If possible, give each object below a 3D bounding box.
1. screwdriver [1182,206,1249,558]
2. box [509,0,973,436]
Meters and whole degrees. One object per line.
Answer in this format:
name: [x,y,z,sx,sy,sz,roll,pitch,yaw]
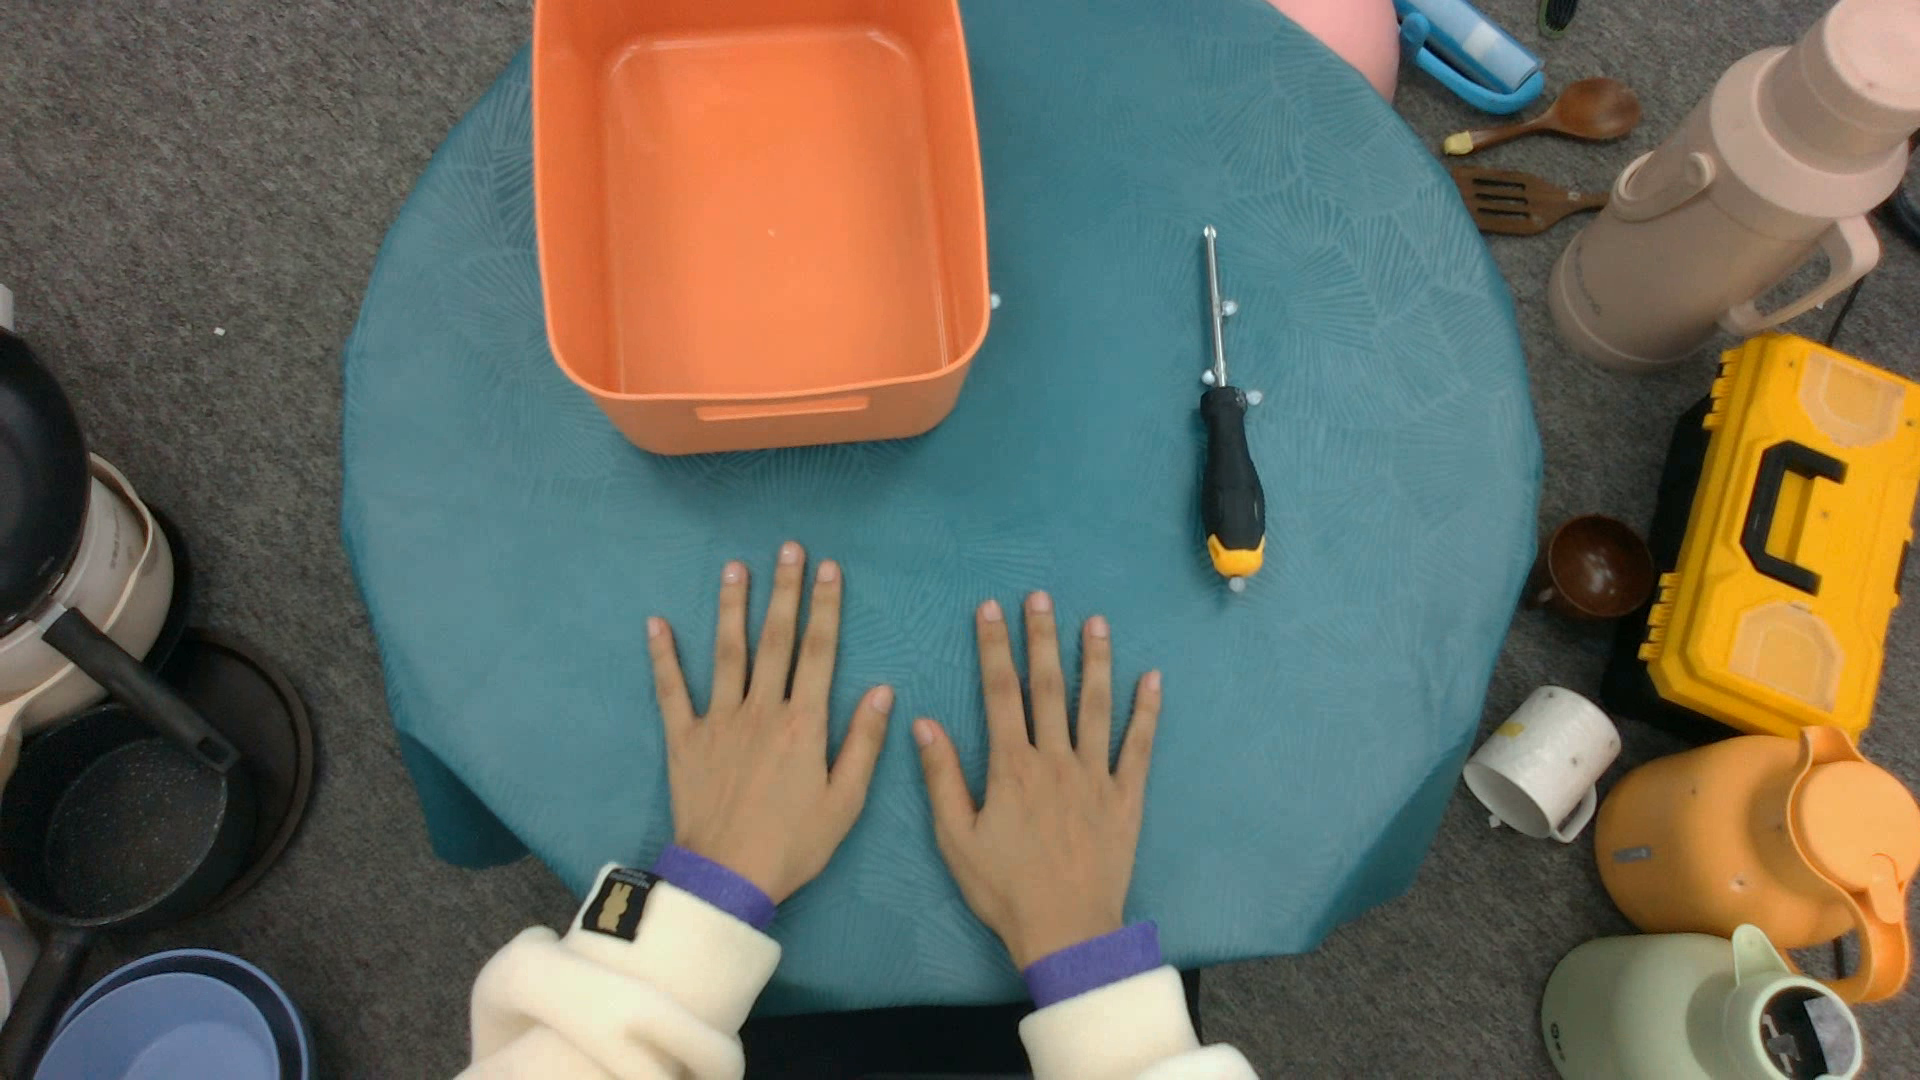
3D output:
screwdriver: [0.127,-0.084,0.697,0.031,0.031,0.197,3,68,-3]
box: [-0.105,-0.184,0.667,0.199,0.102,0.274,-5,72,-7]
